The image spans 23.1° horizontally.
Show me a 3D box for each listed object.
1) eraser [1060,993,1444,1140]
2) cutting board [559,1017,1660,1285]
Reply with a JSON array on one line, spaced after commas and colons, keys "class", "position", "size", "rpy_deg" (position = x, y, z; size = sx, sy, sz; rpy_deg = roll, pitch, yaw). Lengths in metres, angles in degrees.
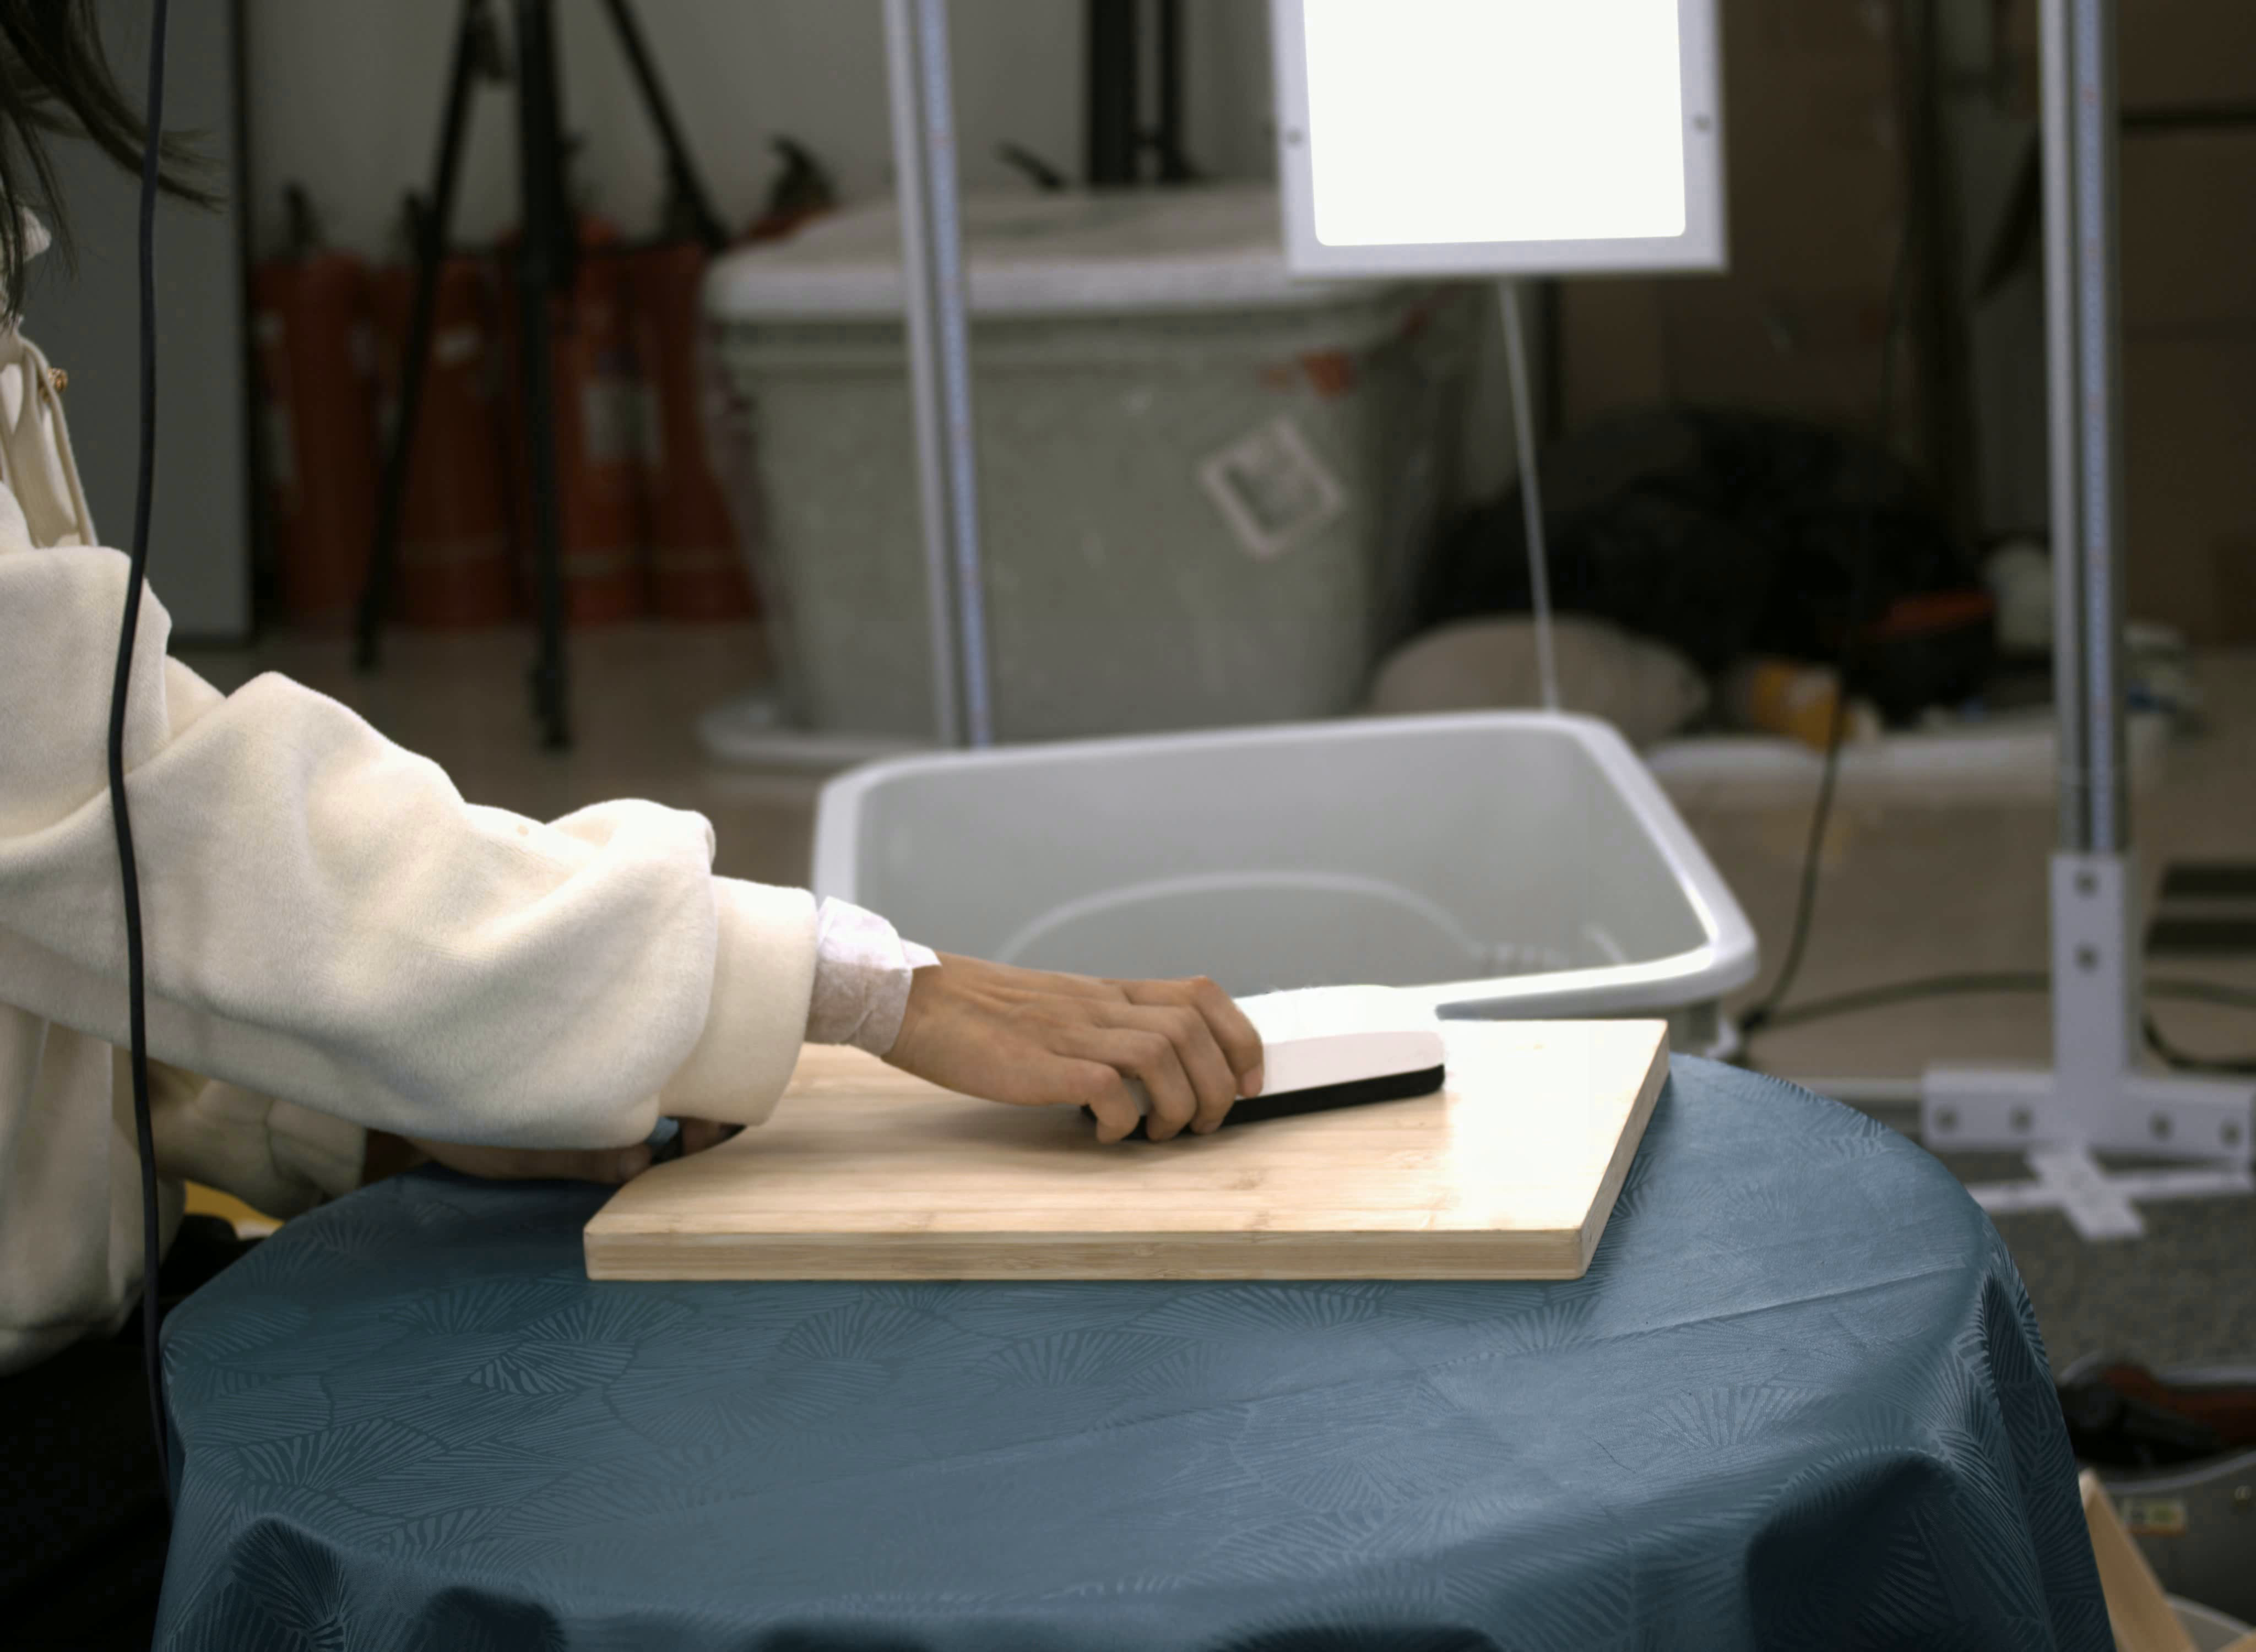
[{"class": "eraser", "position": [0.044, 0.081, 1.929], "size": [0.130, 0.034, 0.064], "rpy_deg": [-7, 14, -11]}, {"class": "cutting board", "position": [0.001, 0.113, 1.922], "size": [0.352, 0.023, 0.247], "rpy_deg": [-2, 14, 14]}]
